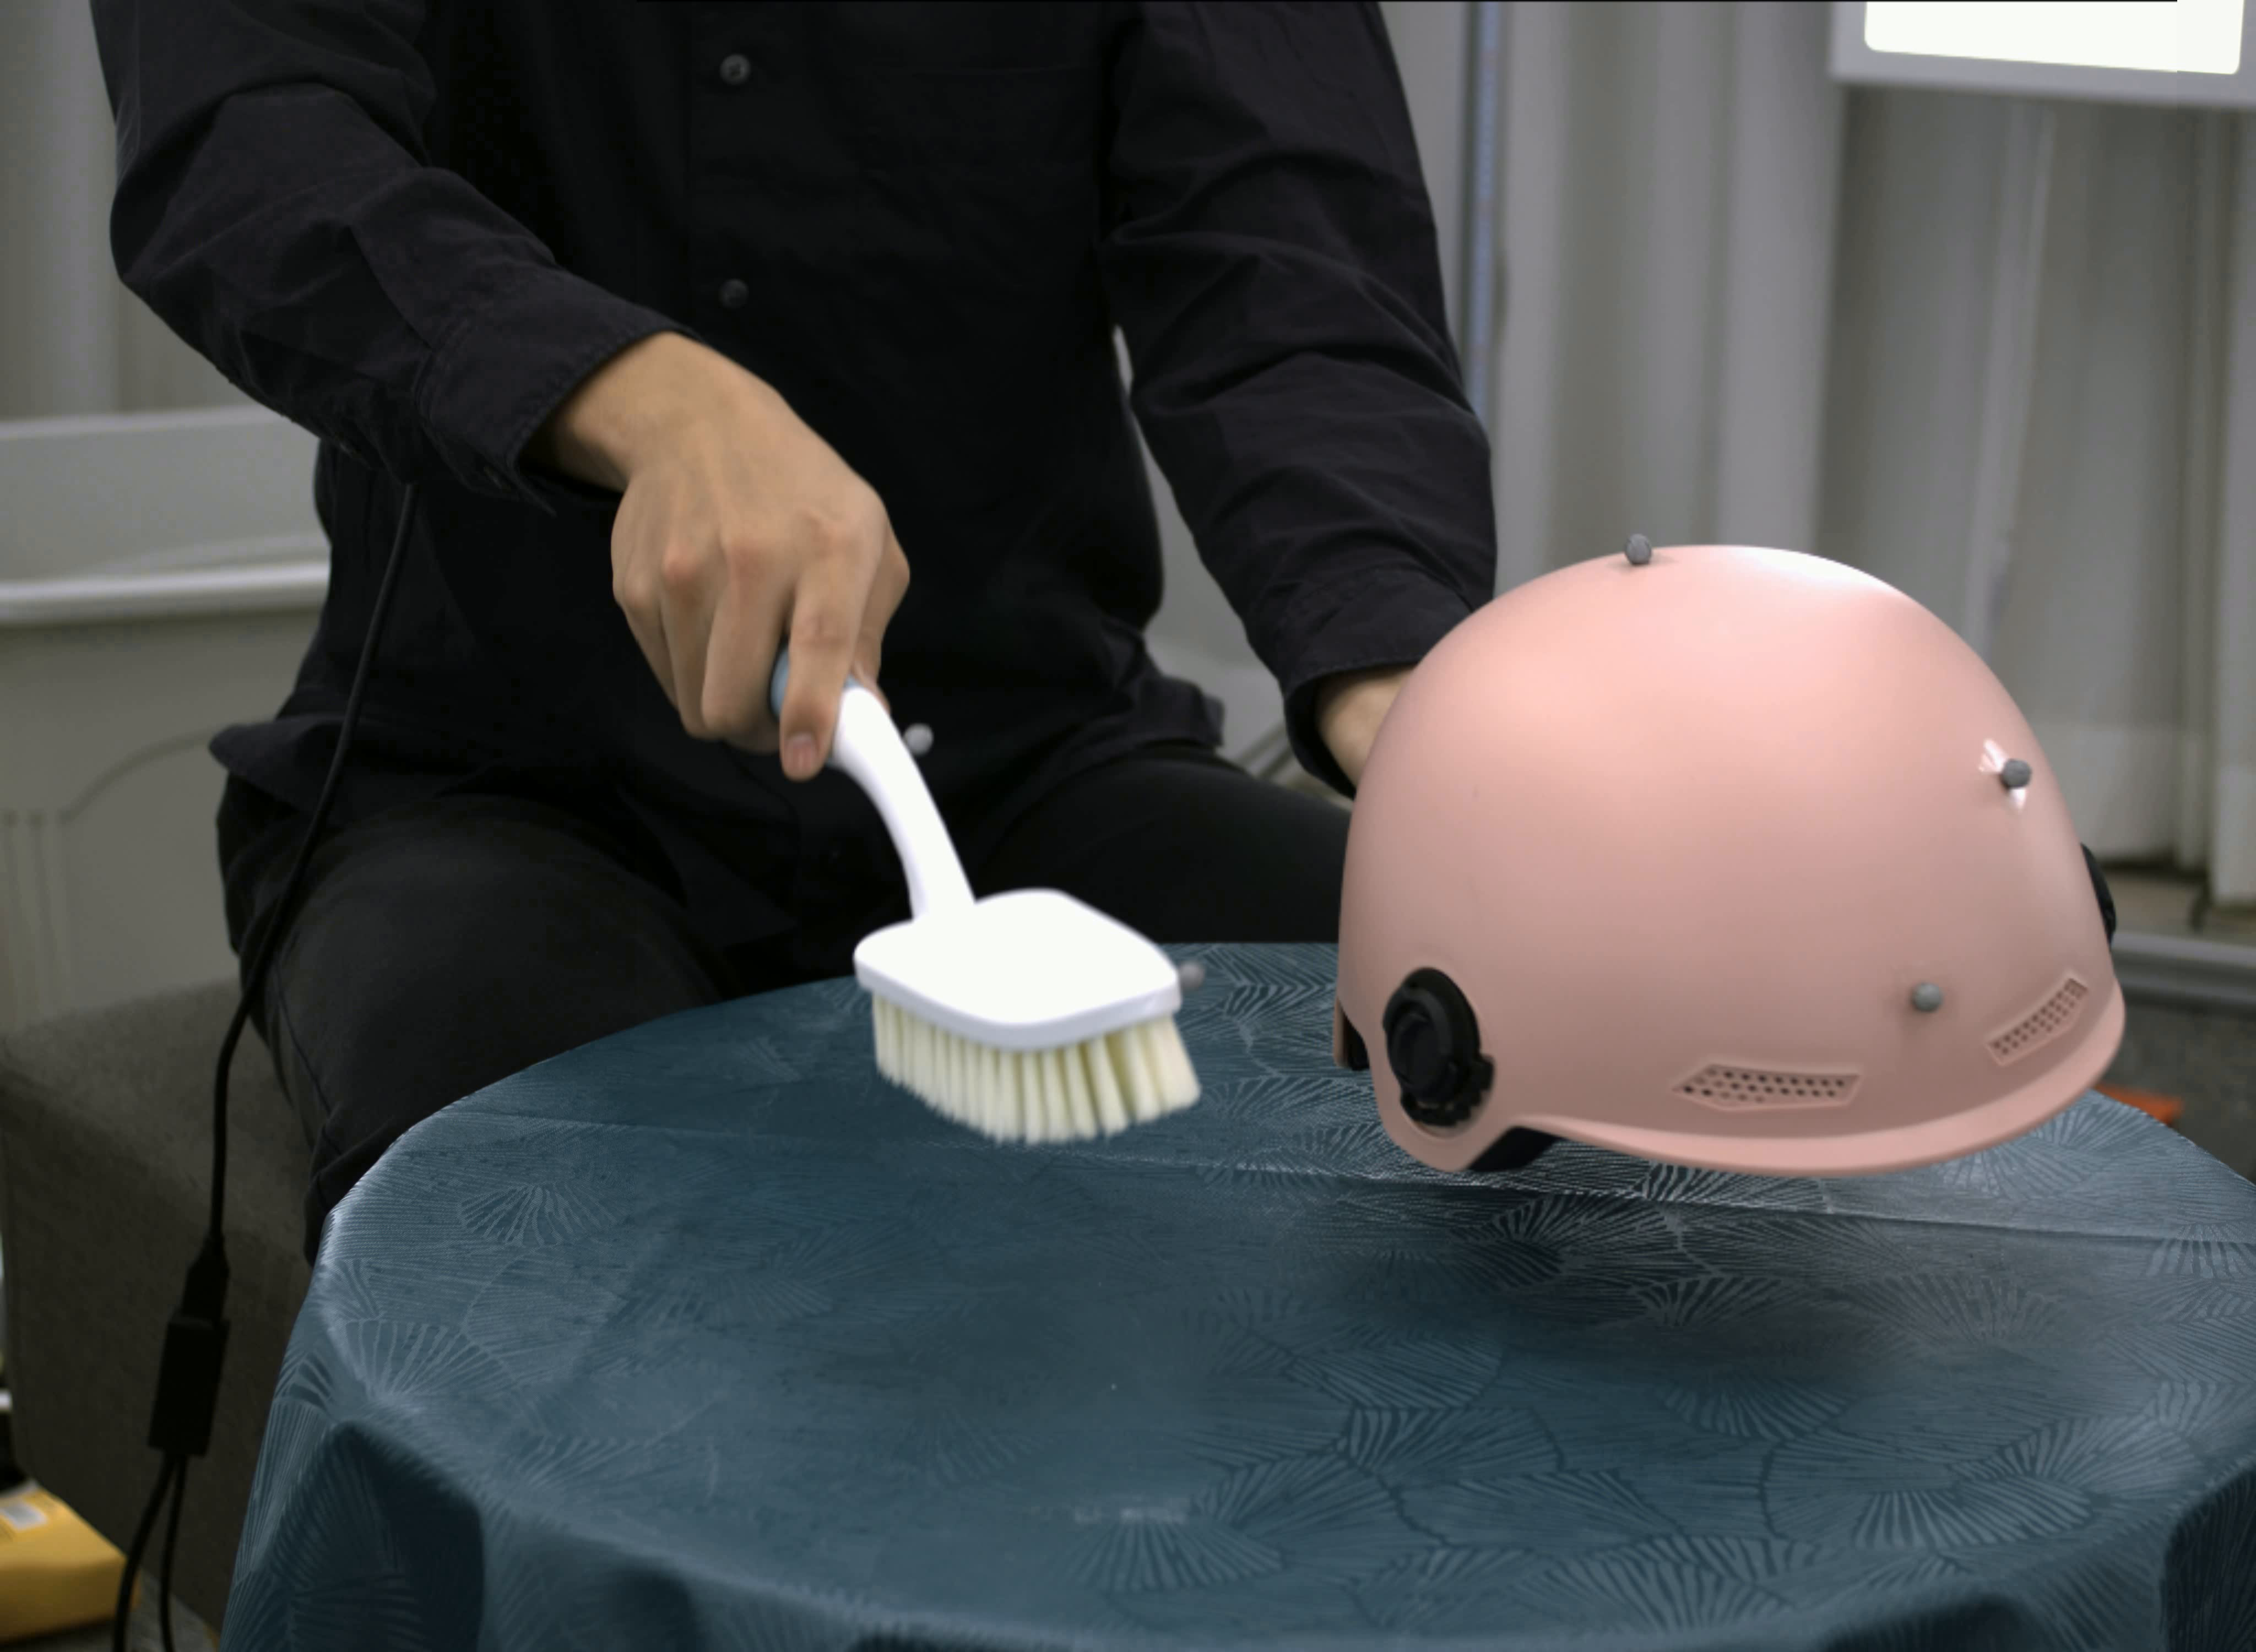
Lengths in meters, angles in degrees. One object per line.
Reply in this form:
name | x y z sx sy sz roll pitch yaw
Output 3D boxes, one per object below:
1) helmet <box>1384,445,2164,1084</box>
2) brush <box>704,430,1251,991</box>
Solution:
helmet | 0.191 -0.030 1.588 0.234 0.160 0.263 -11 19 -19
brush | -0.050 -0.024 1.583 0.084 0.085 0.321 24 10 -37
